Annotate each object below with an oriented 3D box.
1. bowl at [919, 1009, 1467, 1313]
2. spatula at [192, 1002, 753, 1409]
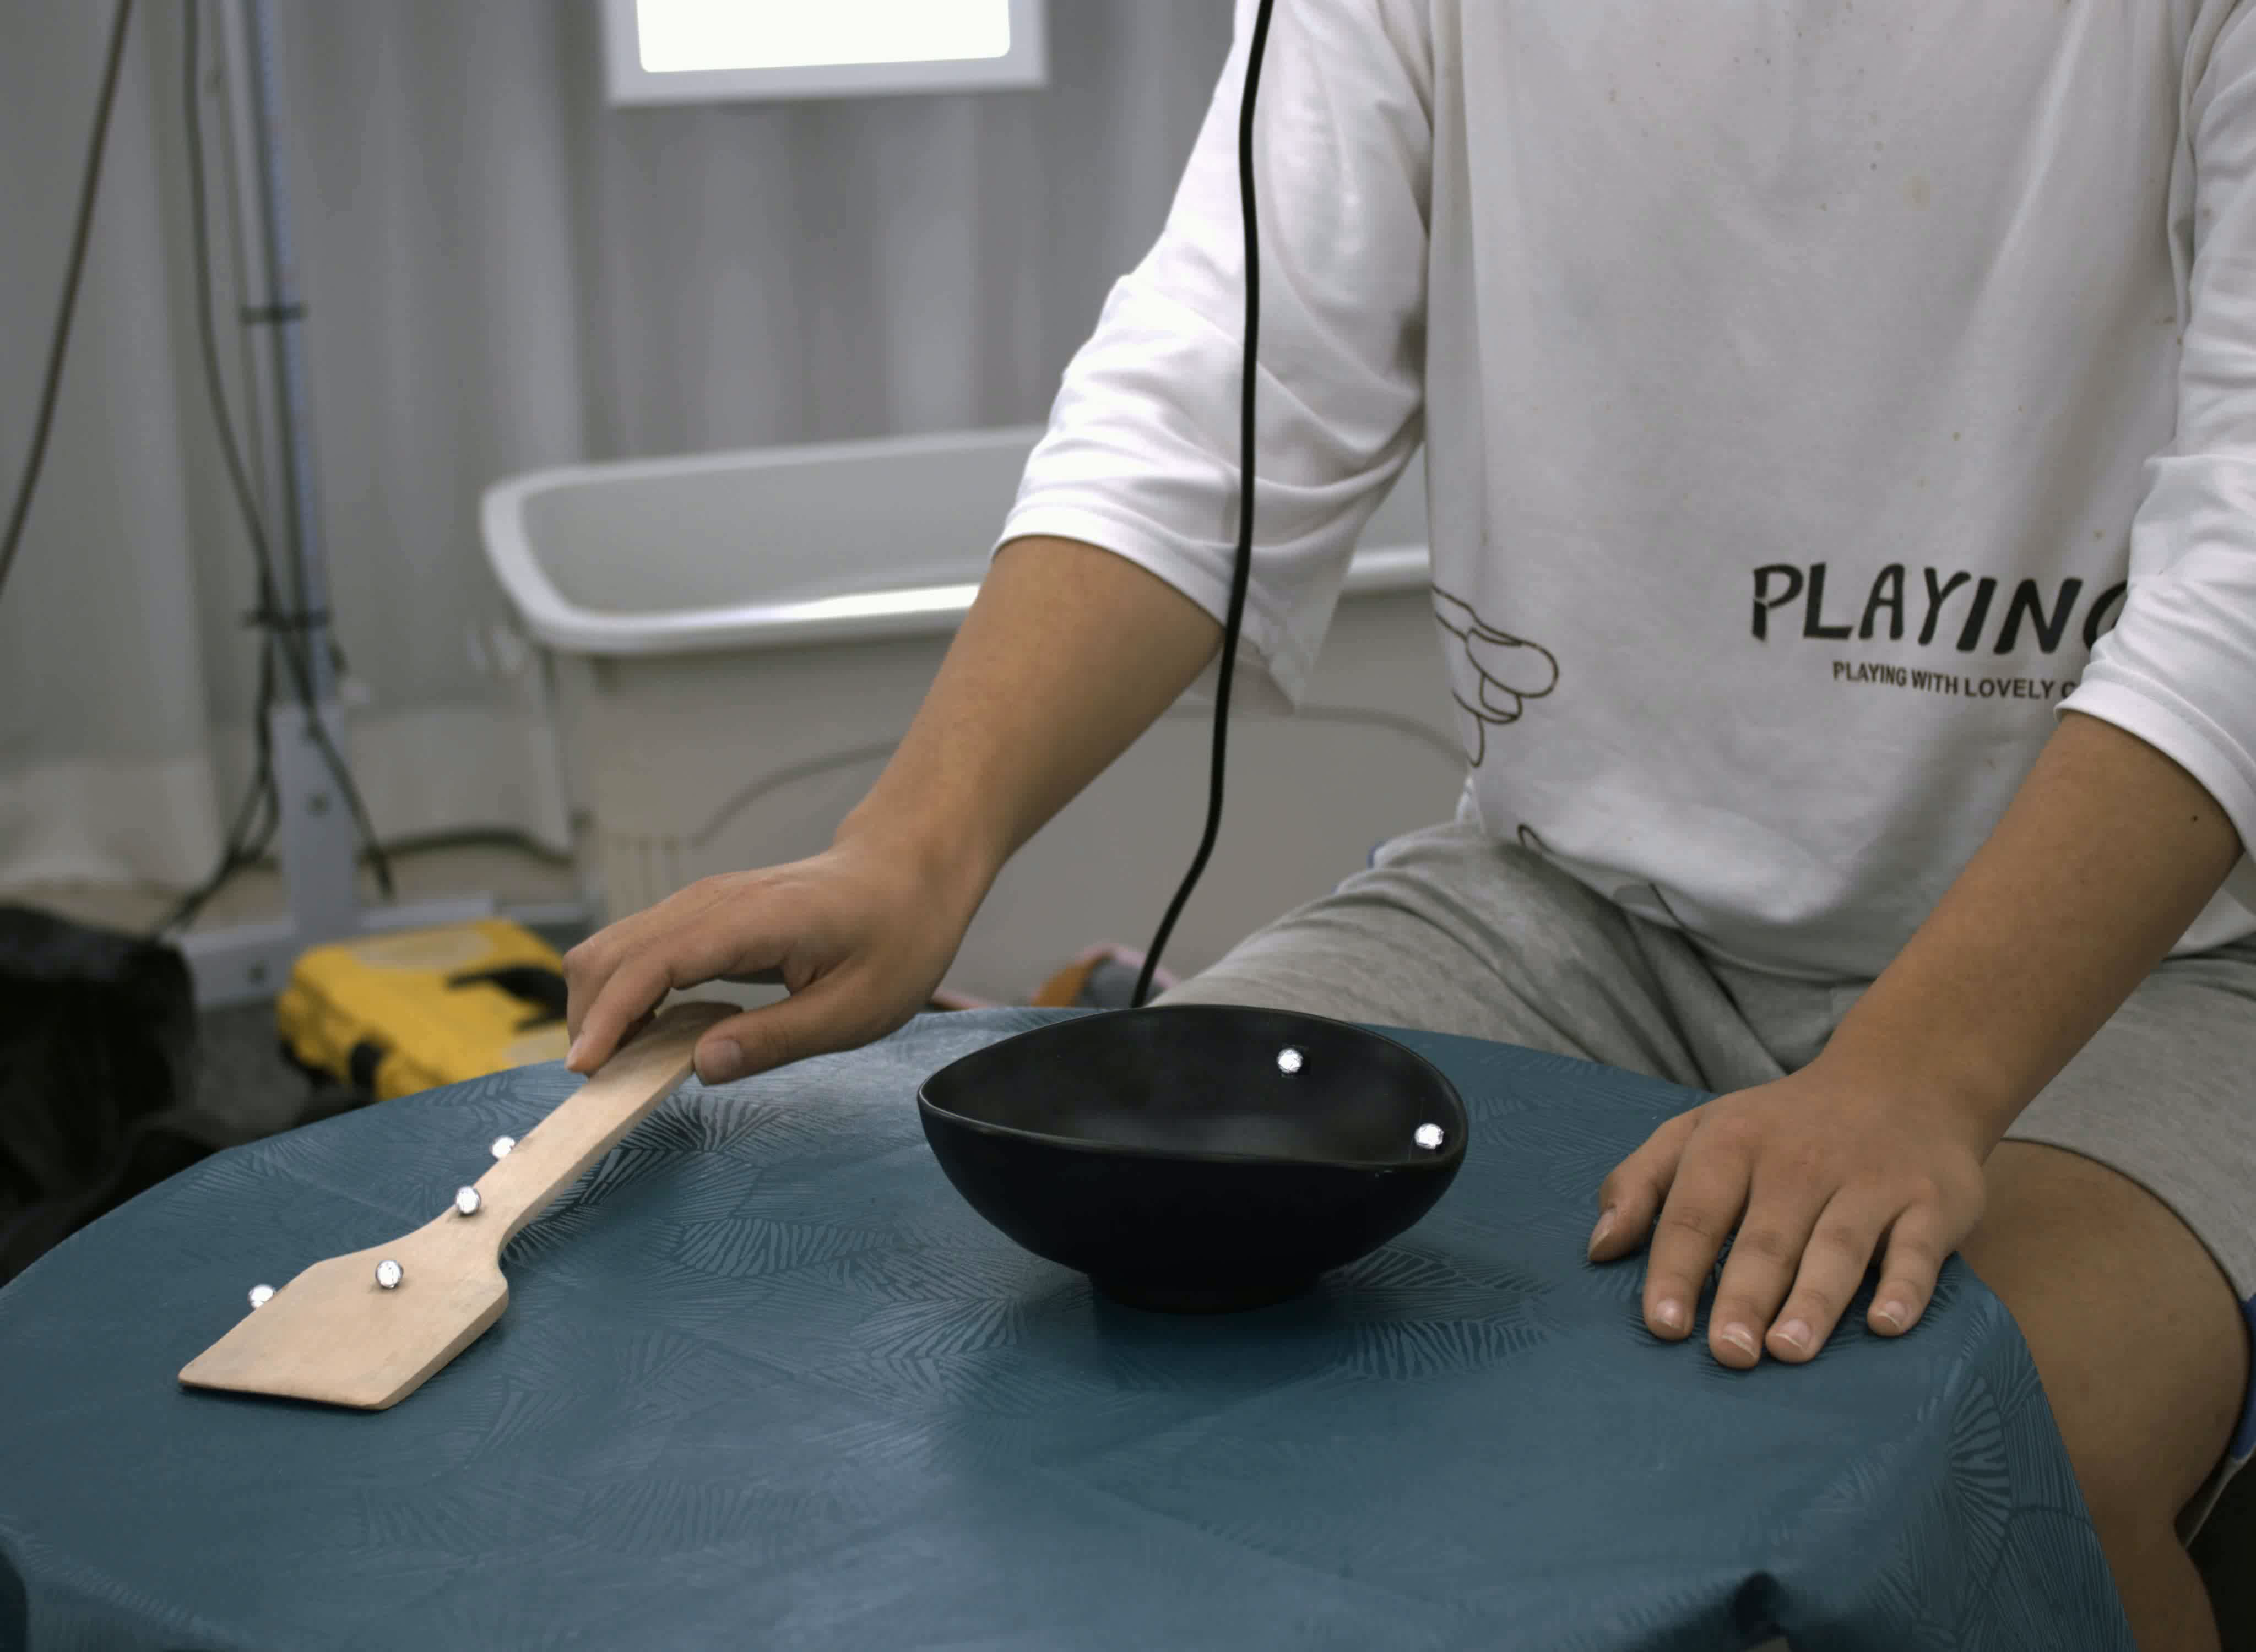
[{"bbox_3d":[0.020,0.104,1.632,0.170,0.066,0.138,5,16,21],"label":"bowl"},{"bbox_3d":[-0.189,0.113,1.695,0.072,0.010,0.294,3,22,22],"label":"spatula"}]
